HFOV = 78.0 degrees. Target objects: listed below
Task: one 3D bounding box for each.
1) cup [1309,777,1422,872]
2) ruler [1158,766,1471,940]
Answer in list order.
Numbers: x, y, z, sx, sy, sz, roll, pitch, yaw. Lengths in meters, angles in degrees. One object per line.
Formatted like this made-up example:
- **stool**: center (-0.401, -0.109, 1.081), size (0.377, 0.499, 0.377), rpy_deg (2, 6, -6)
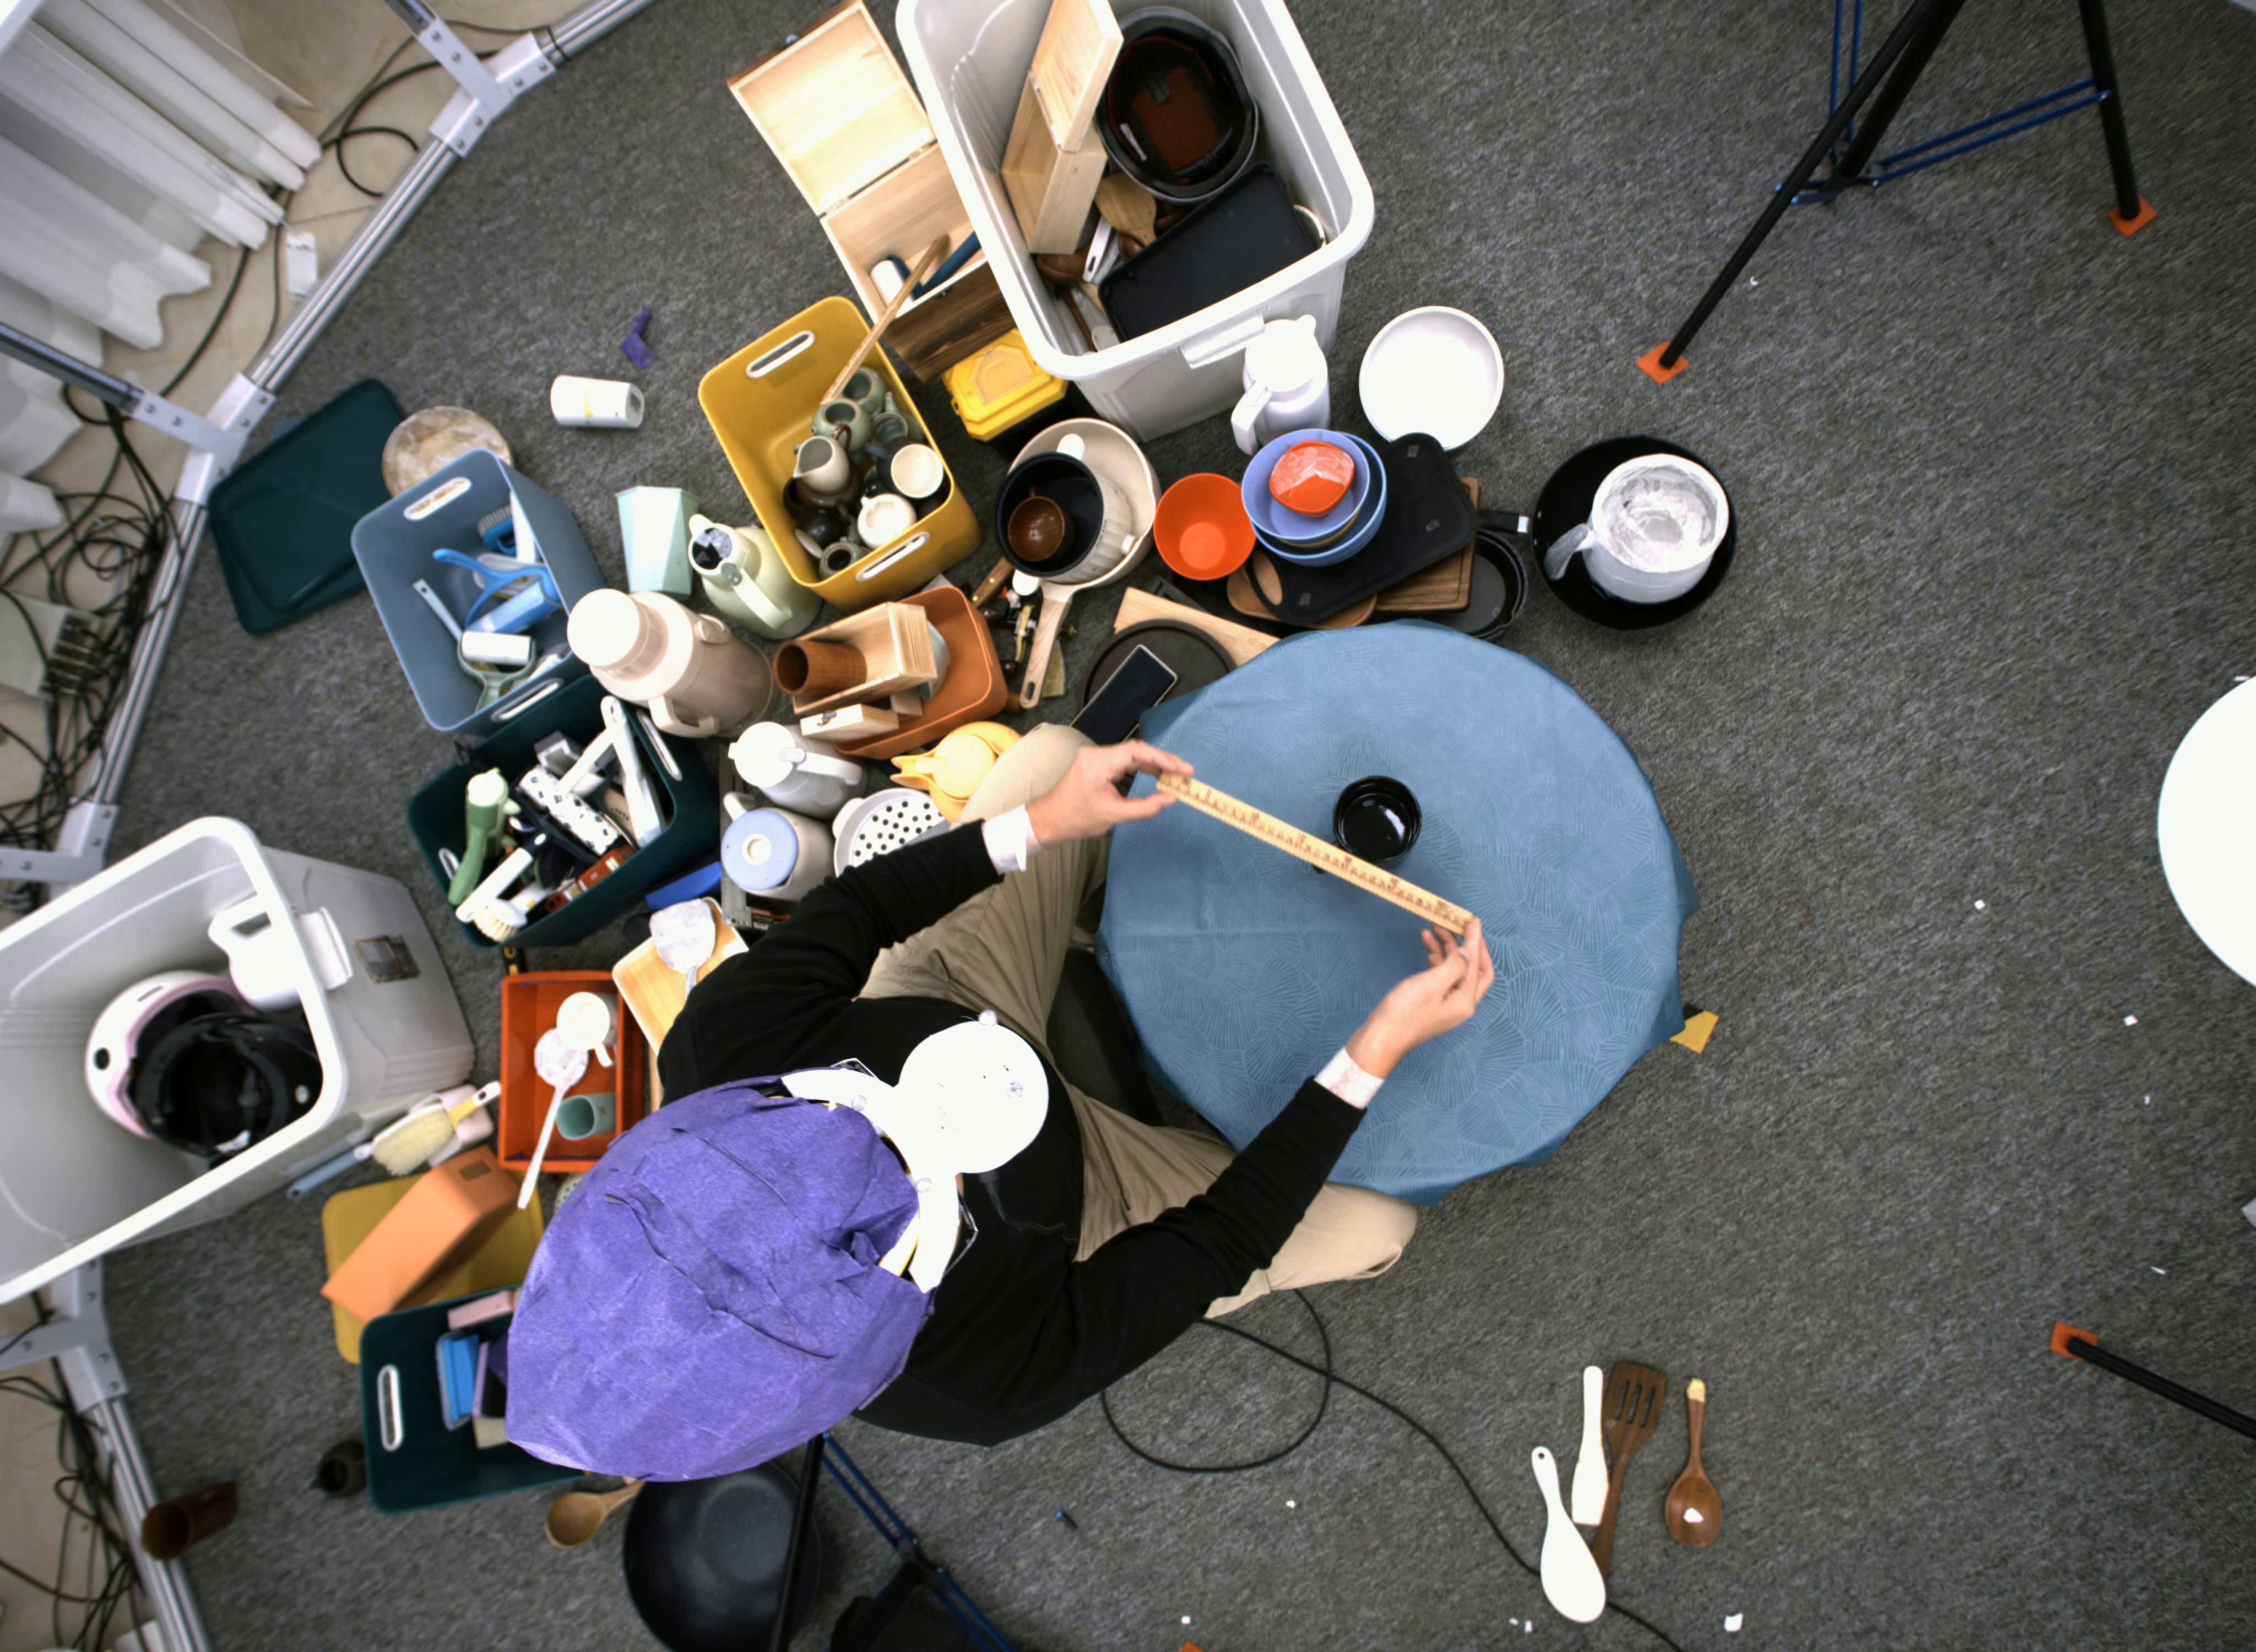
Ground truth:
- **cup**: center (0.240, 0.007, 1.417), size (0.124, 0.105, 0.088), rpy_deg (-34, 82, 5)
- **ruler**: center (0.182, 0.025, 1.348), size (0.332, 0.022, 0.027), rpy_deg (27, 79, 3)
